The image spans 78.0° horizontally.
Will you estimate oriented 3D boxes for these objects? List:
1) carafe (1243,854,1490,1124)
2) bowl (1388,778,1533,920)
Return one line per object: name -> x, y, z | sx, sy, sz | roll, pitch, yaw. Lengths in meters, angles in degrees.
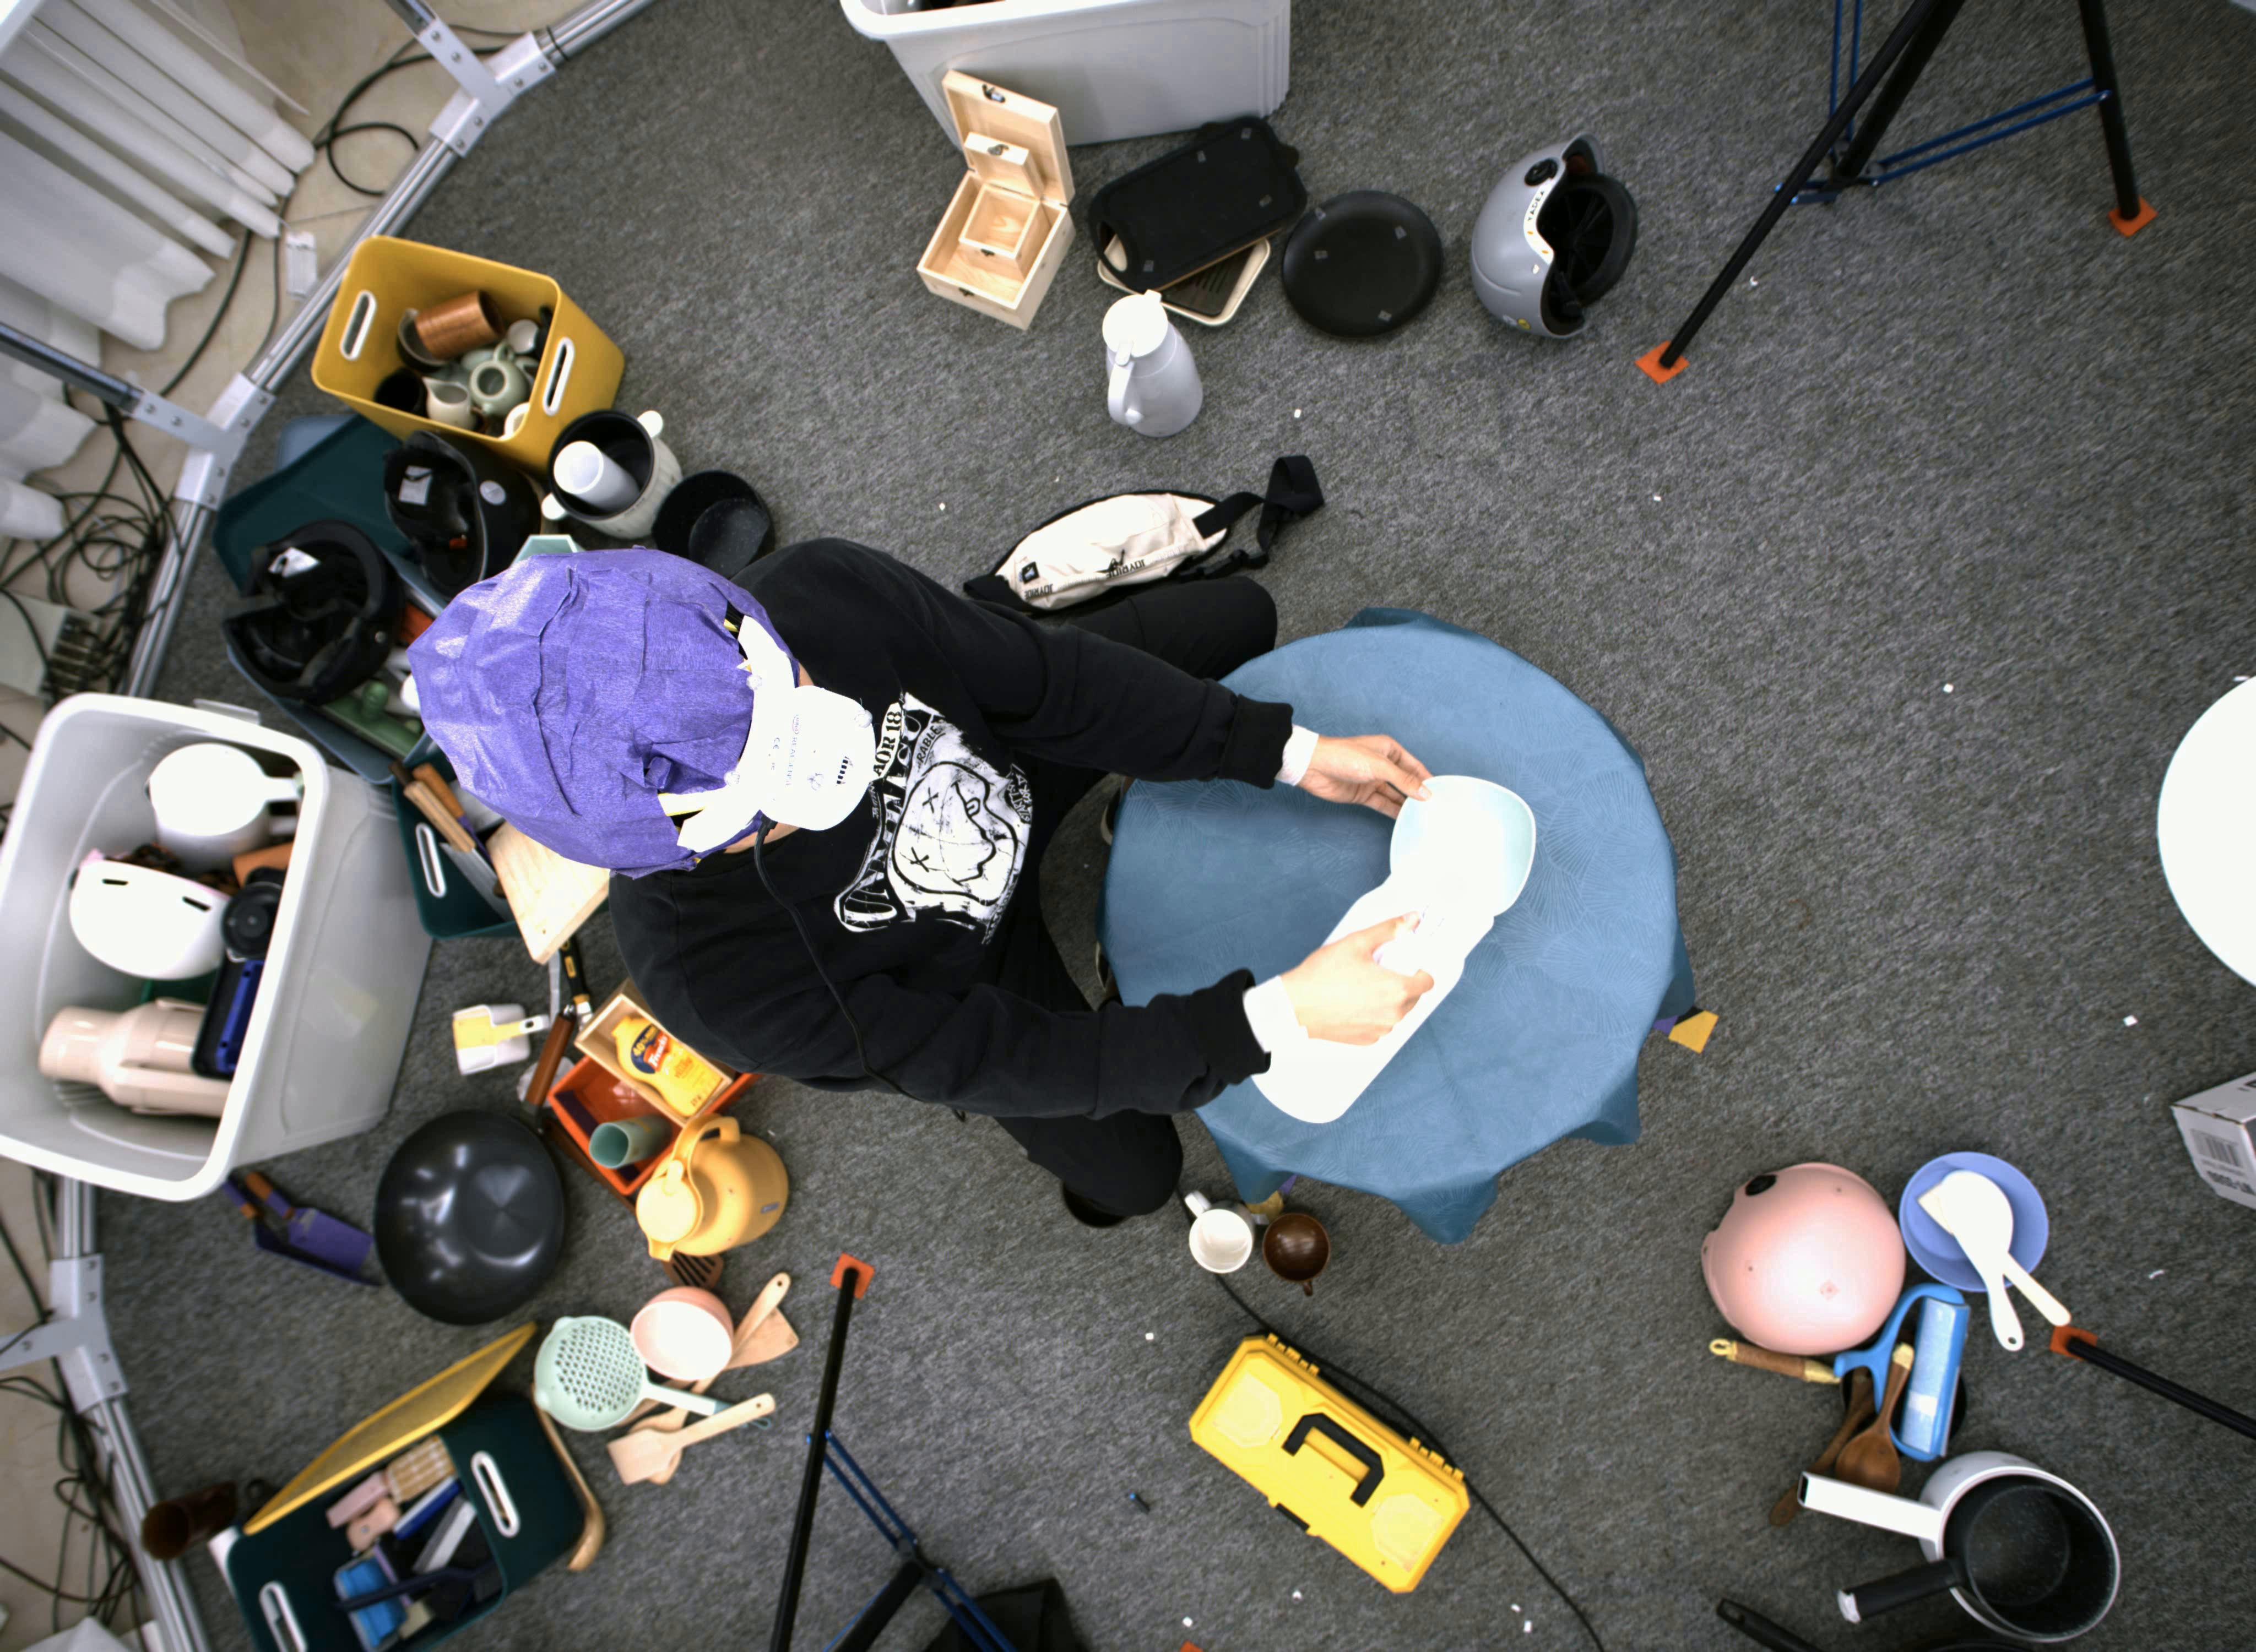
carafe -> 0.216, 0.160, 1.289 | 0.123, 0.169, 0.275 | 38, 121, 6
bowl -> 0.336, 0.022, 1.394 | 0.152, 0.058, 0.151 | 0, 91, 13
